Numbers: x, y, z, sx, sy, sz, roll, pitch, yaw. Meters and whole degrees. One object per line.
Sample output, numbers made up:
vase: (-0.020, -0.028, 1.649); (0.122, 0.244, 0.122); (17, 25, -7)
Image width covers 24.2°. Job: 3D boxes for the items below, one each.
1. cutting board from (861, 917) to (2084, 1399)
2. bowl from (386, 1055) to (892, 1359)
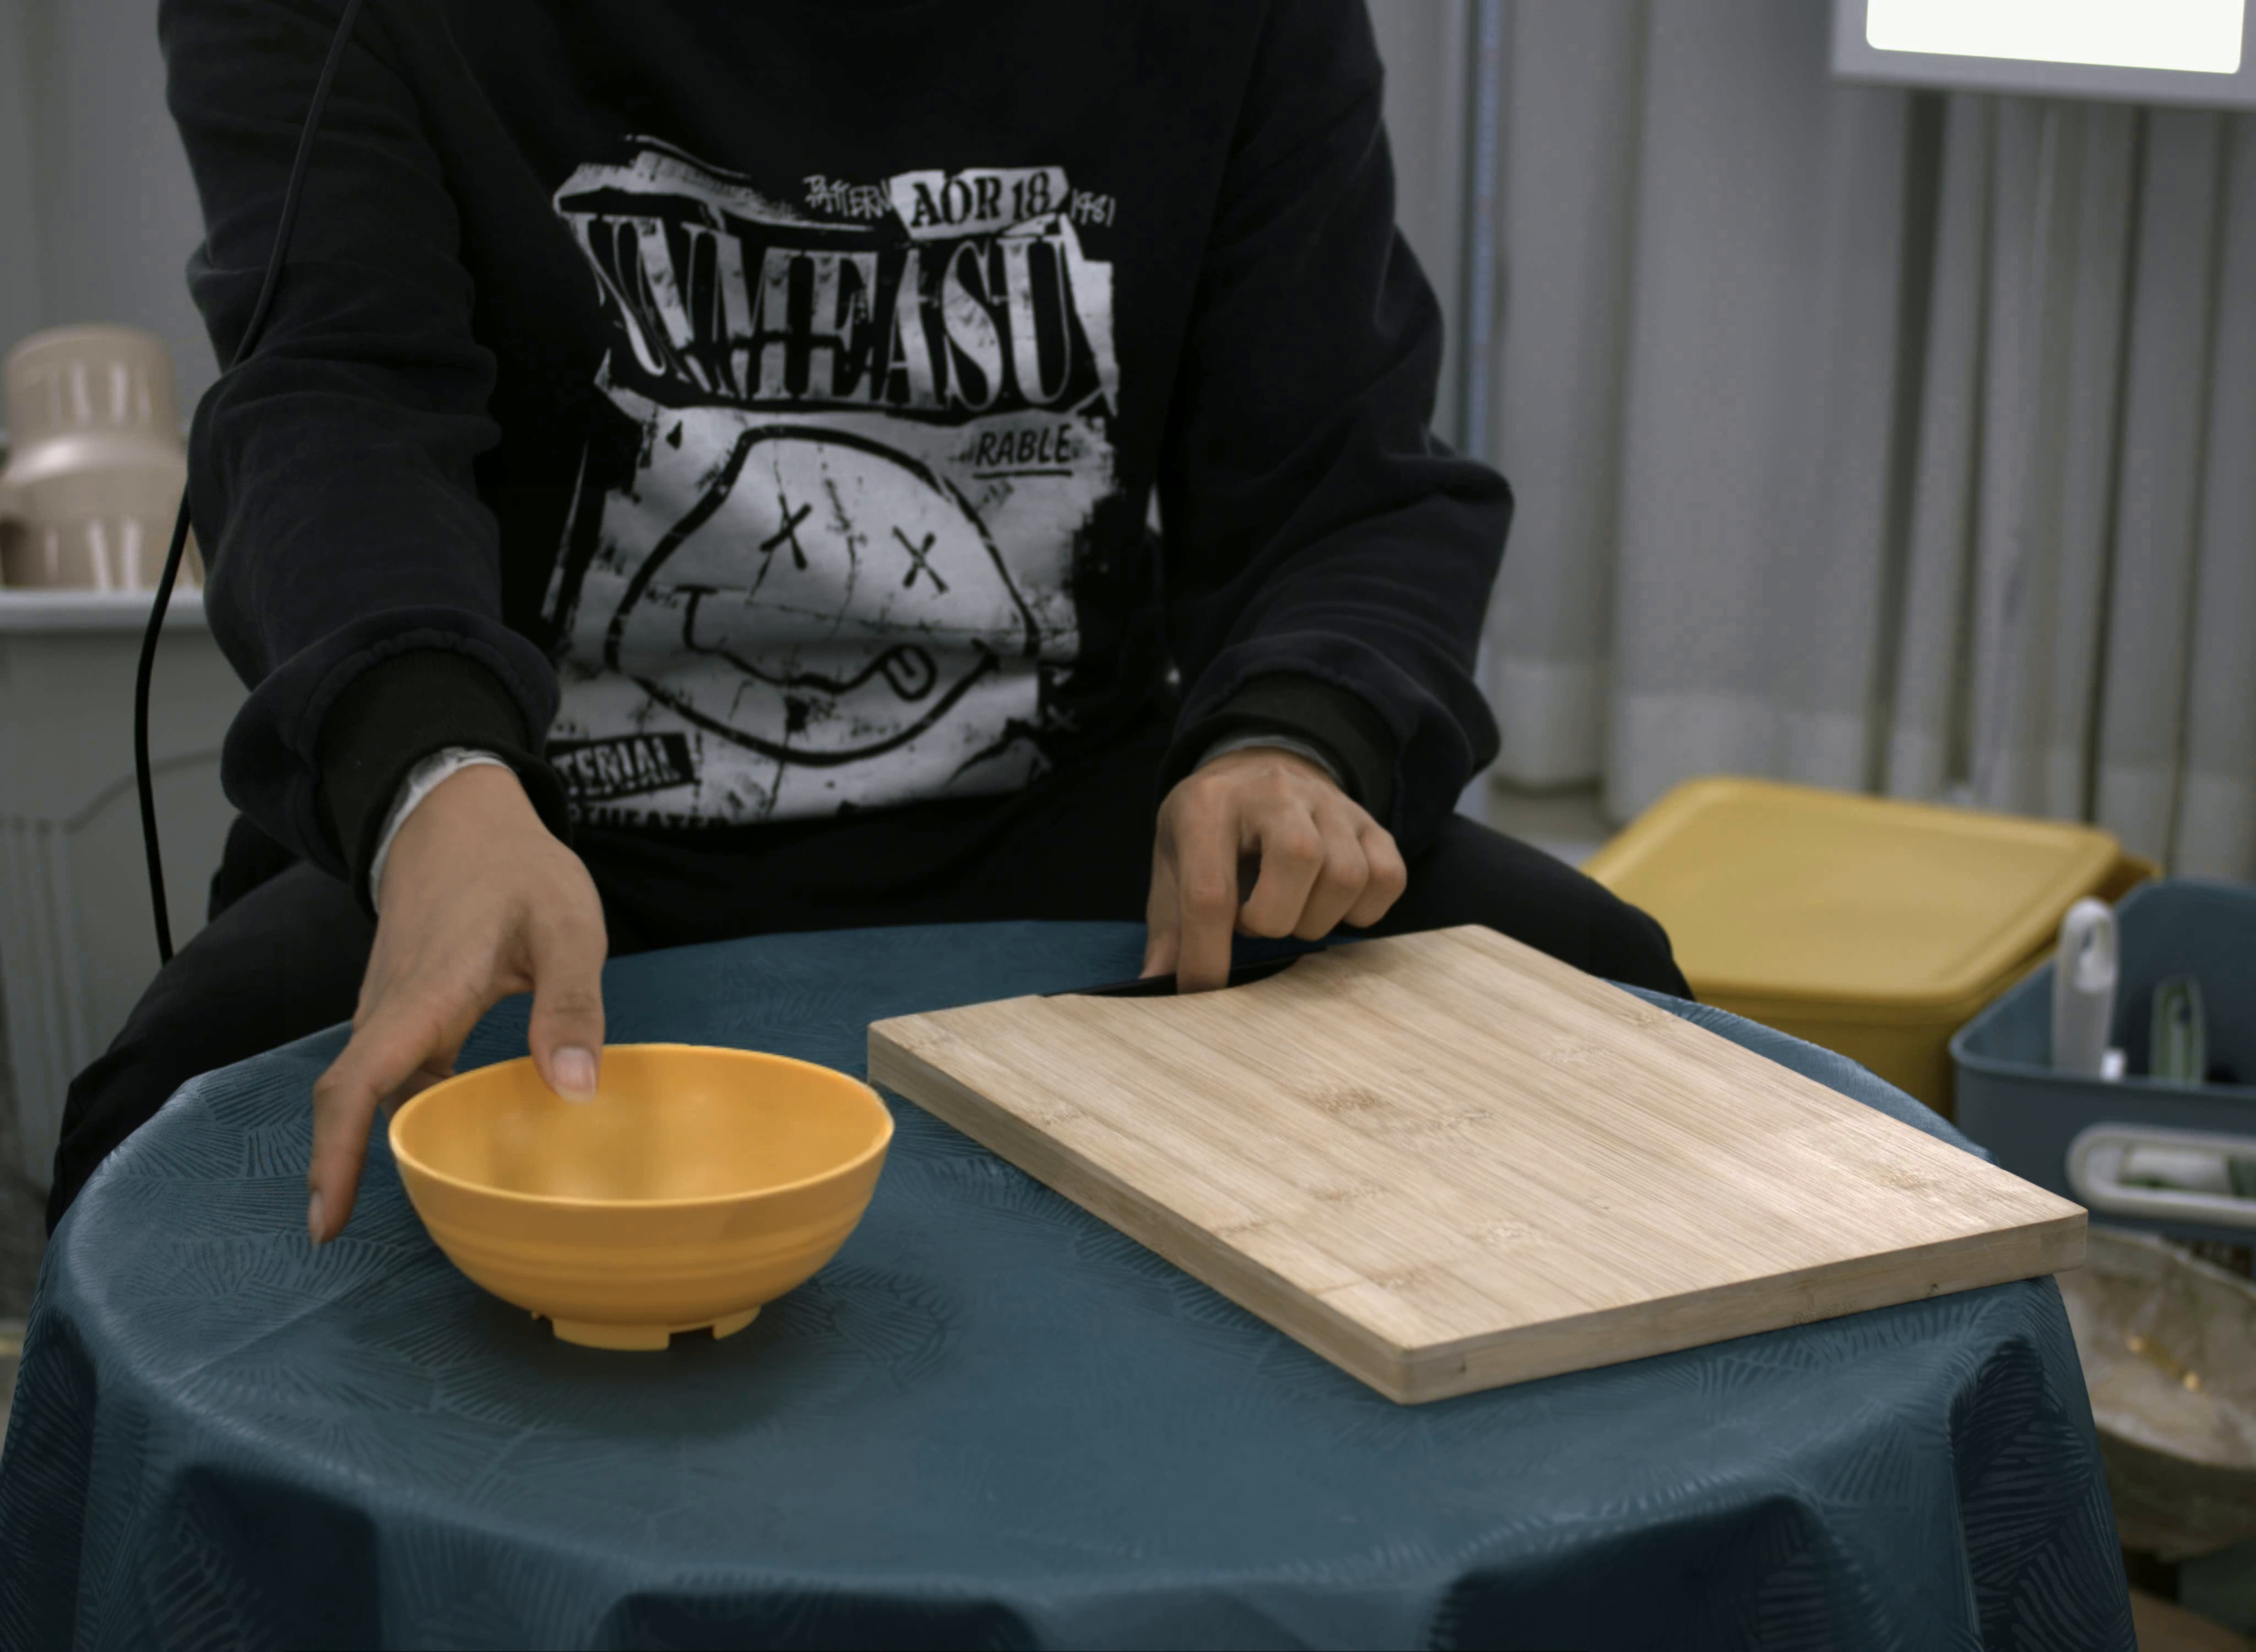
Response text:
cutting board: (0.098, 0.097, 1.656); (0.252, 0.024, 0.344); (-8, 18, -29)
bowl: (-0.141, 0.114, 1.513); (0.145, 0.060, 0.144); (3, 14, 0)
